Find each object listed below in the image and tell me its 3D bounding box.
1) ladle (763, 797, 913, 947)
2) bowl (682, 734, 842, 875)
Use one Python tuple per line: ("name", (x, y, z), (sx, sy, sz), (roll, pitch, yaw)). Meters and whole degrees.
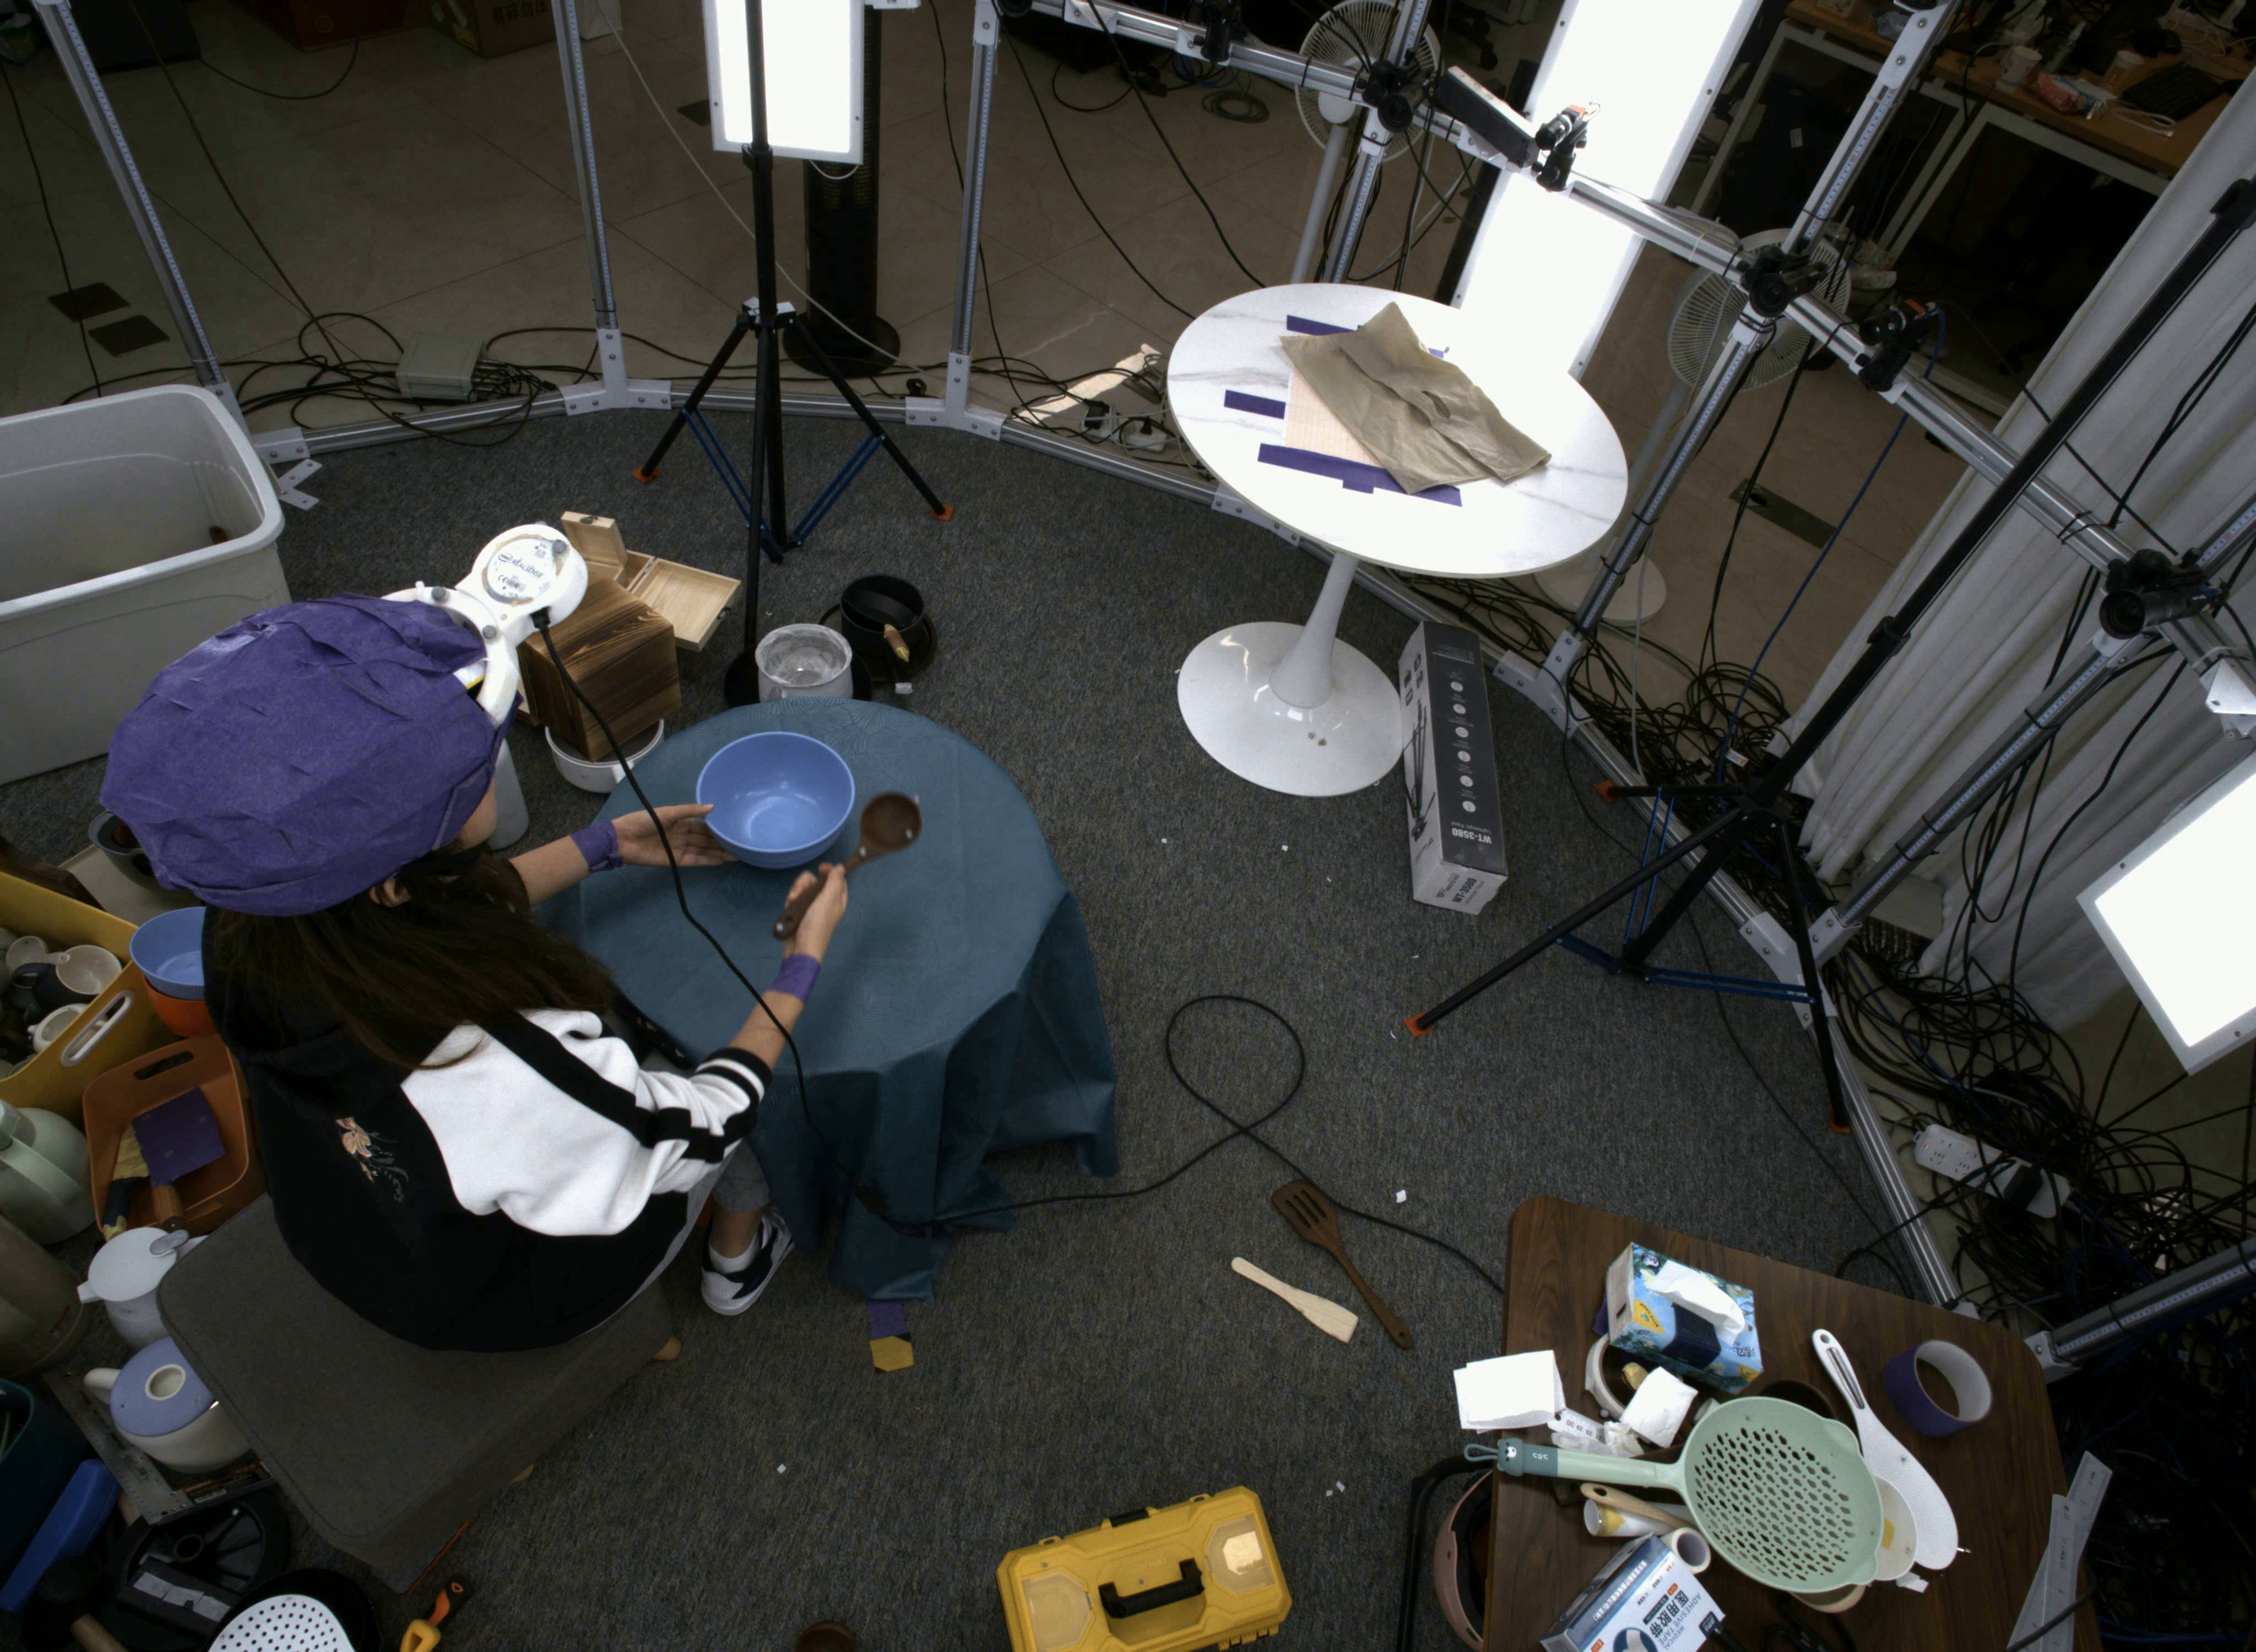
("ladle", (-0.338, 0.047, 1.508), (0.075, 0.066, 0.259), (29, 36, 9))
("bowl", (-0.470, -0.014, 1.657), (0.197, 0.097, 0.193), (12, 51, -13))
